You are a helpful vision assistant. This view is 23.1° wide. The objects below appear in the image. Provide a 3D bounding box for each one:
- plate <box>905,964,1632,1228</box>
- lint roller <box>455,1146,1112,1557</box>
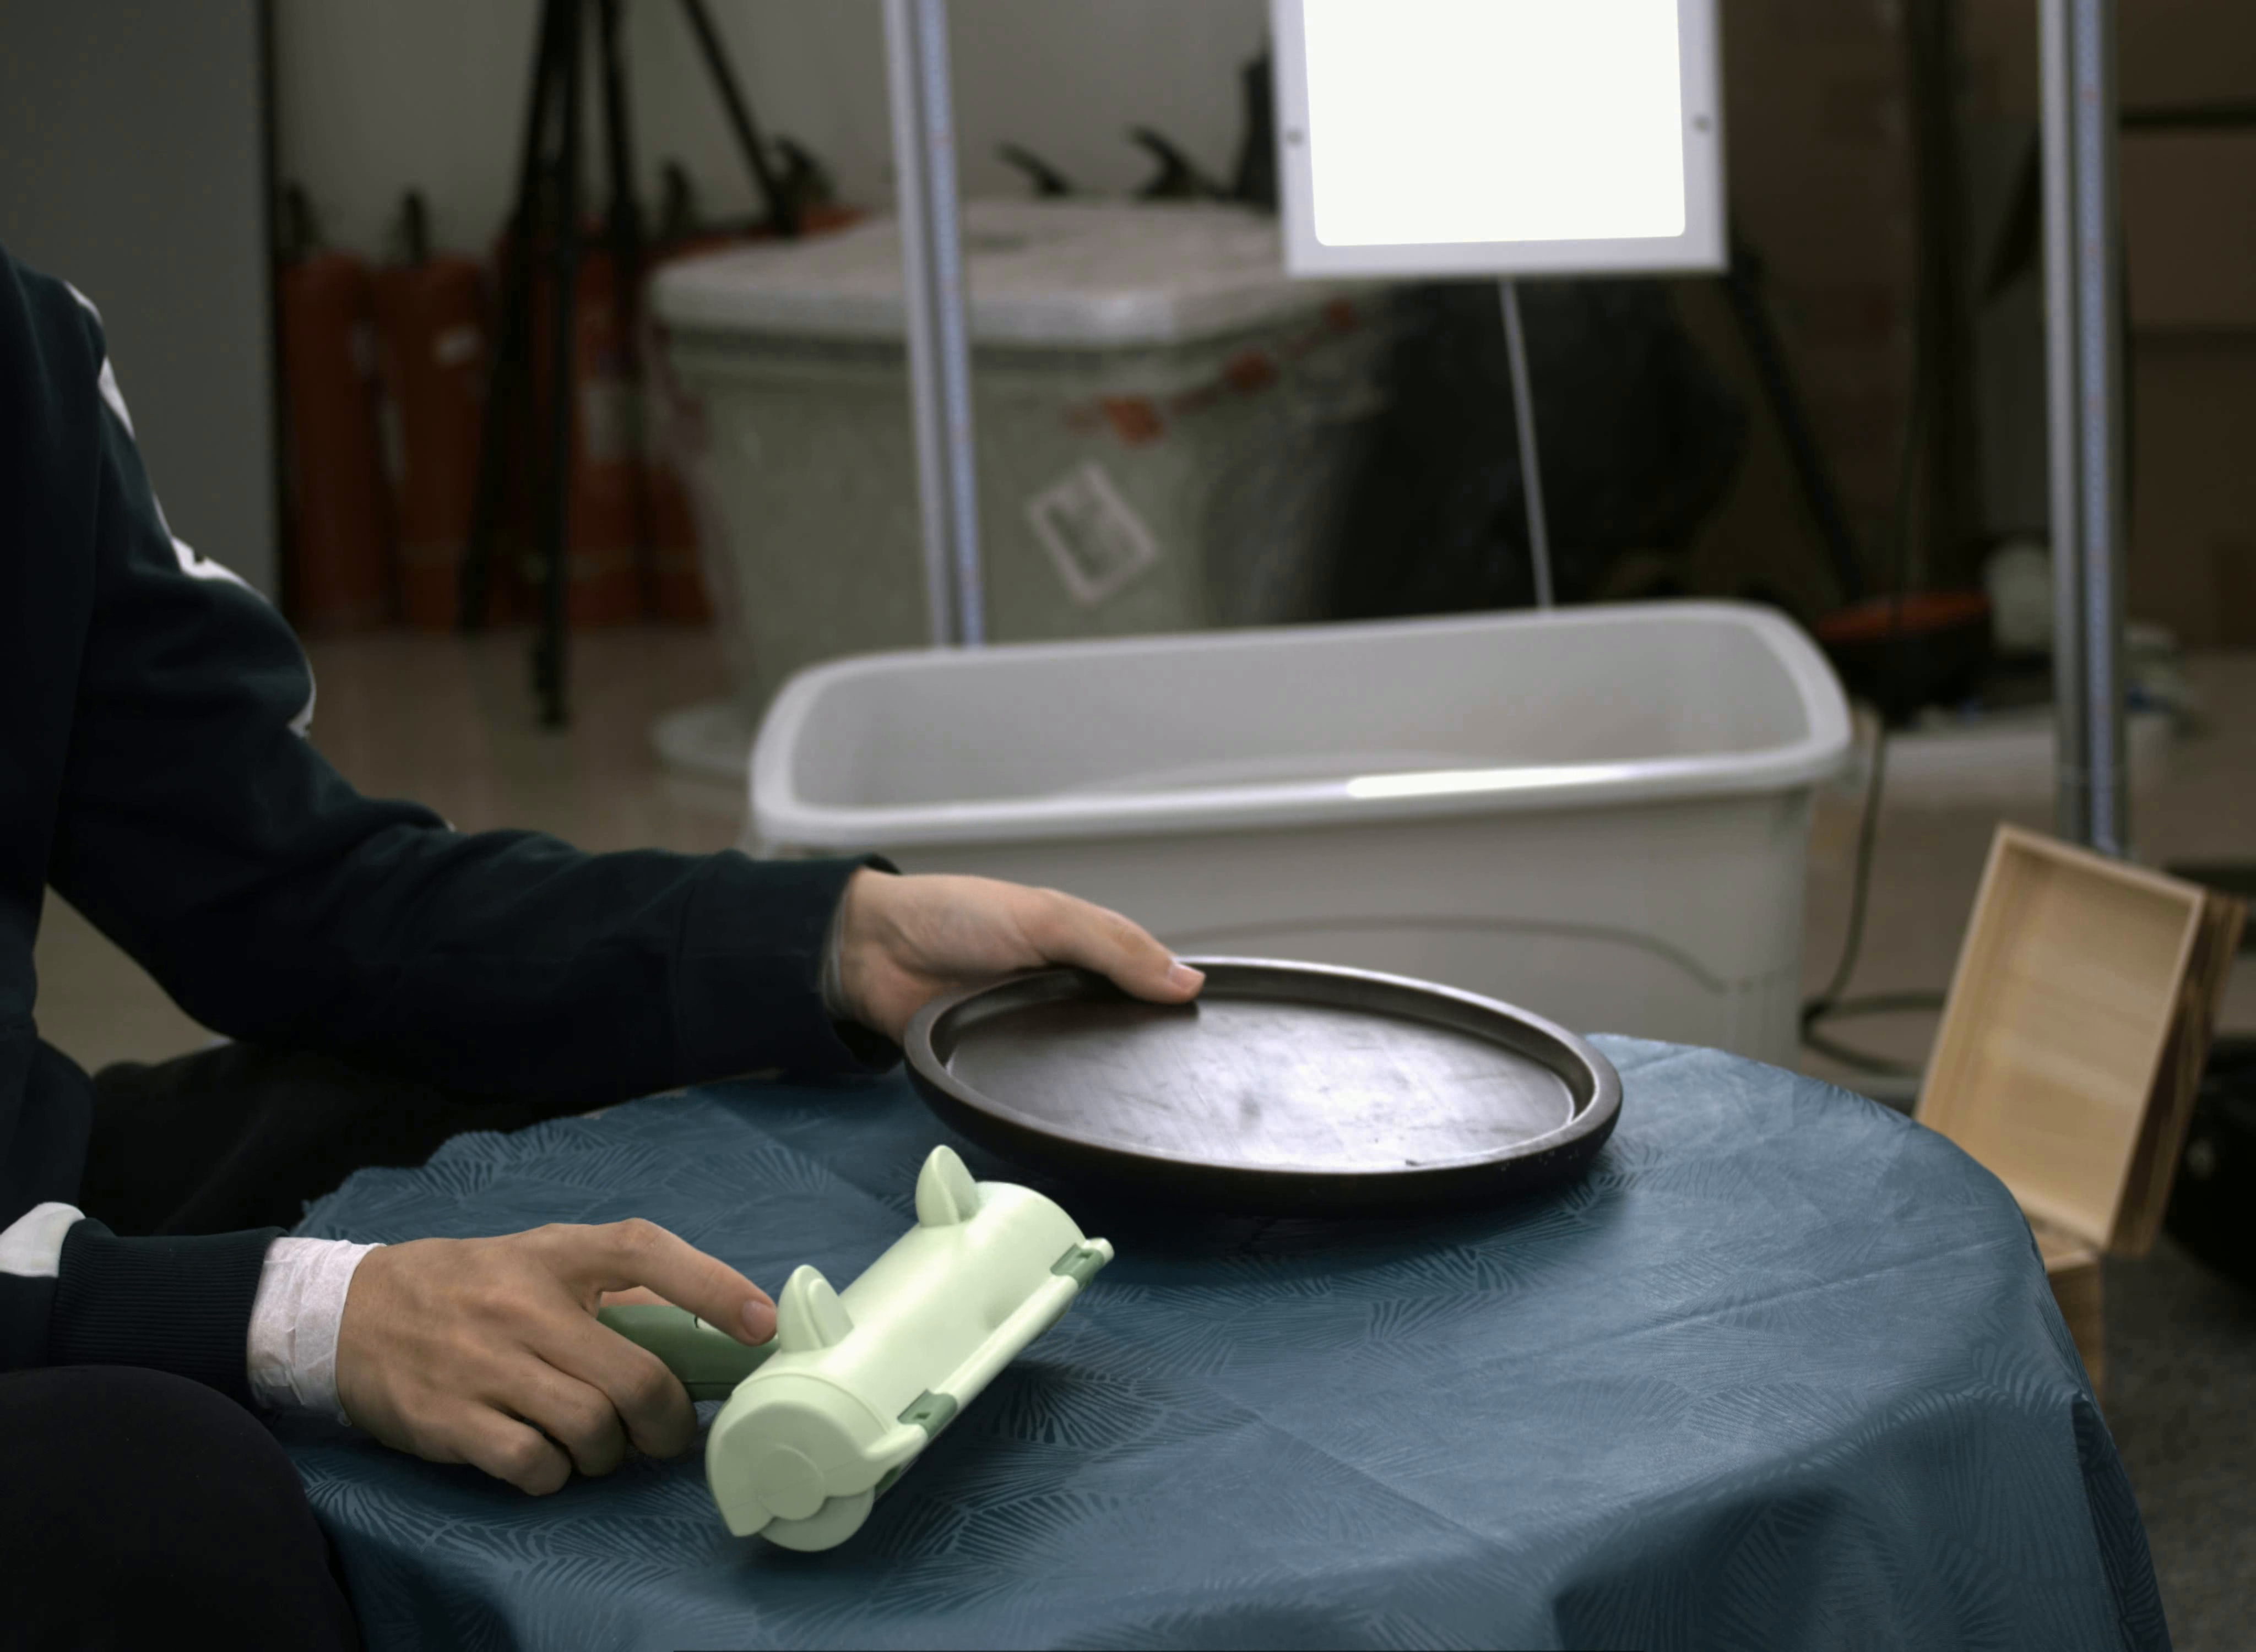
[{"bbox_3d":[0.048,0.091,1.909,0.253,0.029,0.254,3,16,-2],"label":"plate"},{"bbox_3d":[-0.119,0.147,1.665,0.185,0.082,0.195,7,17,19],"label":"lint roller"}]
